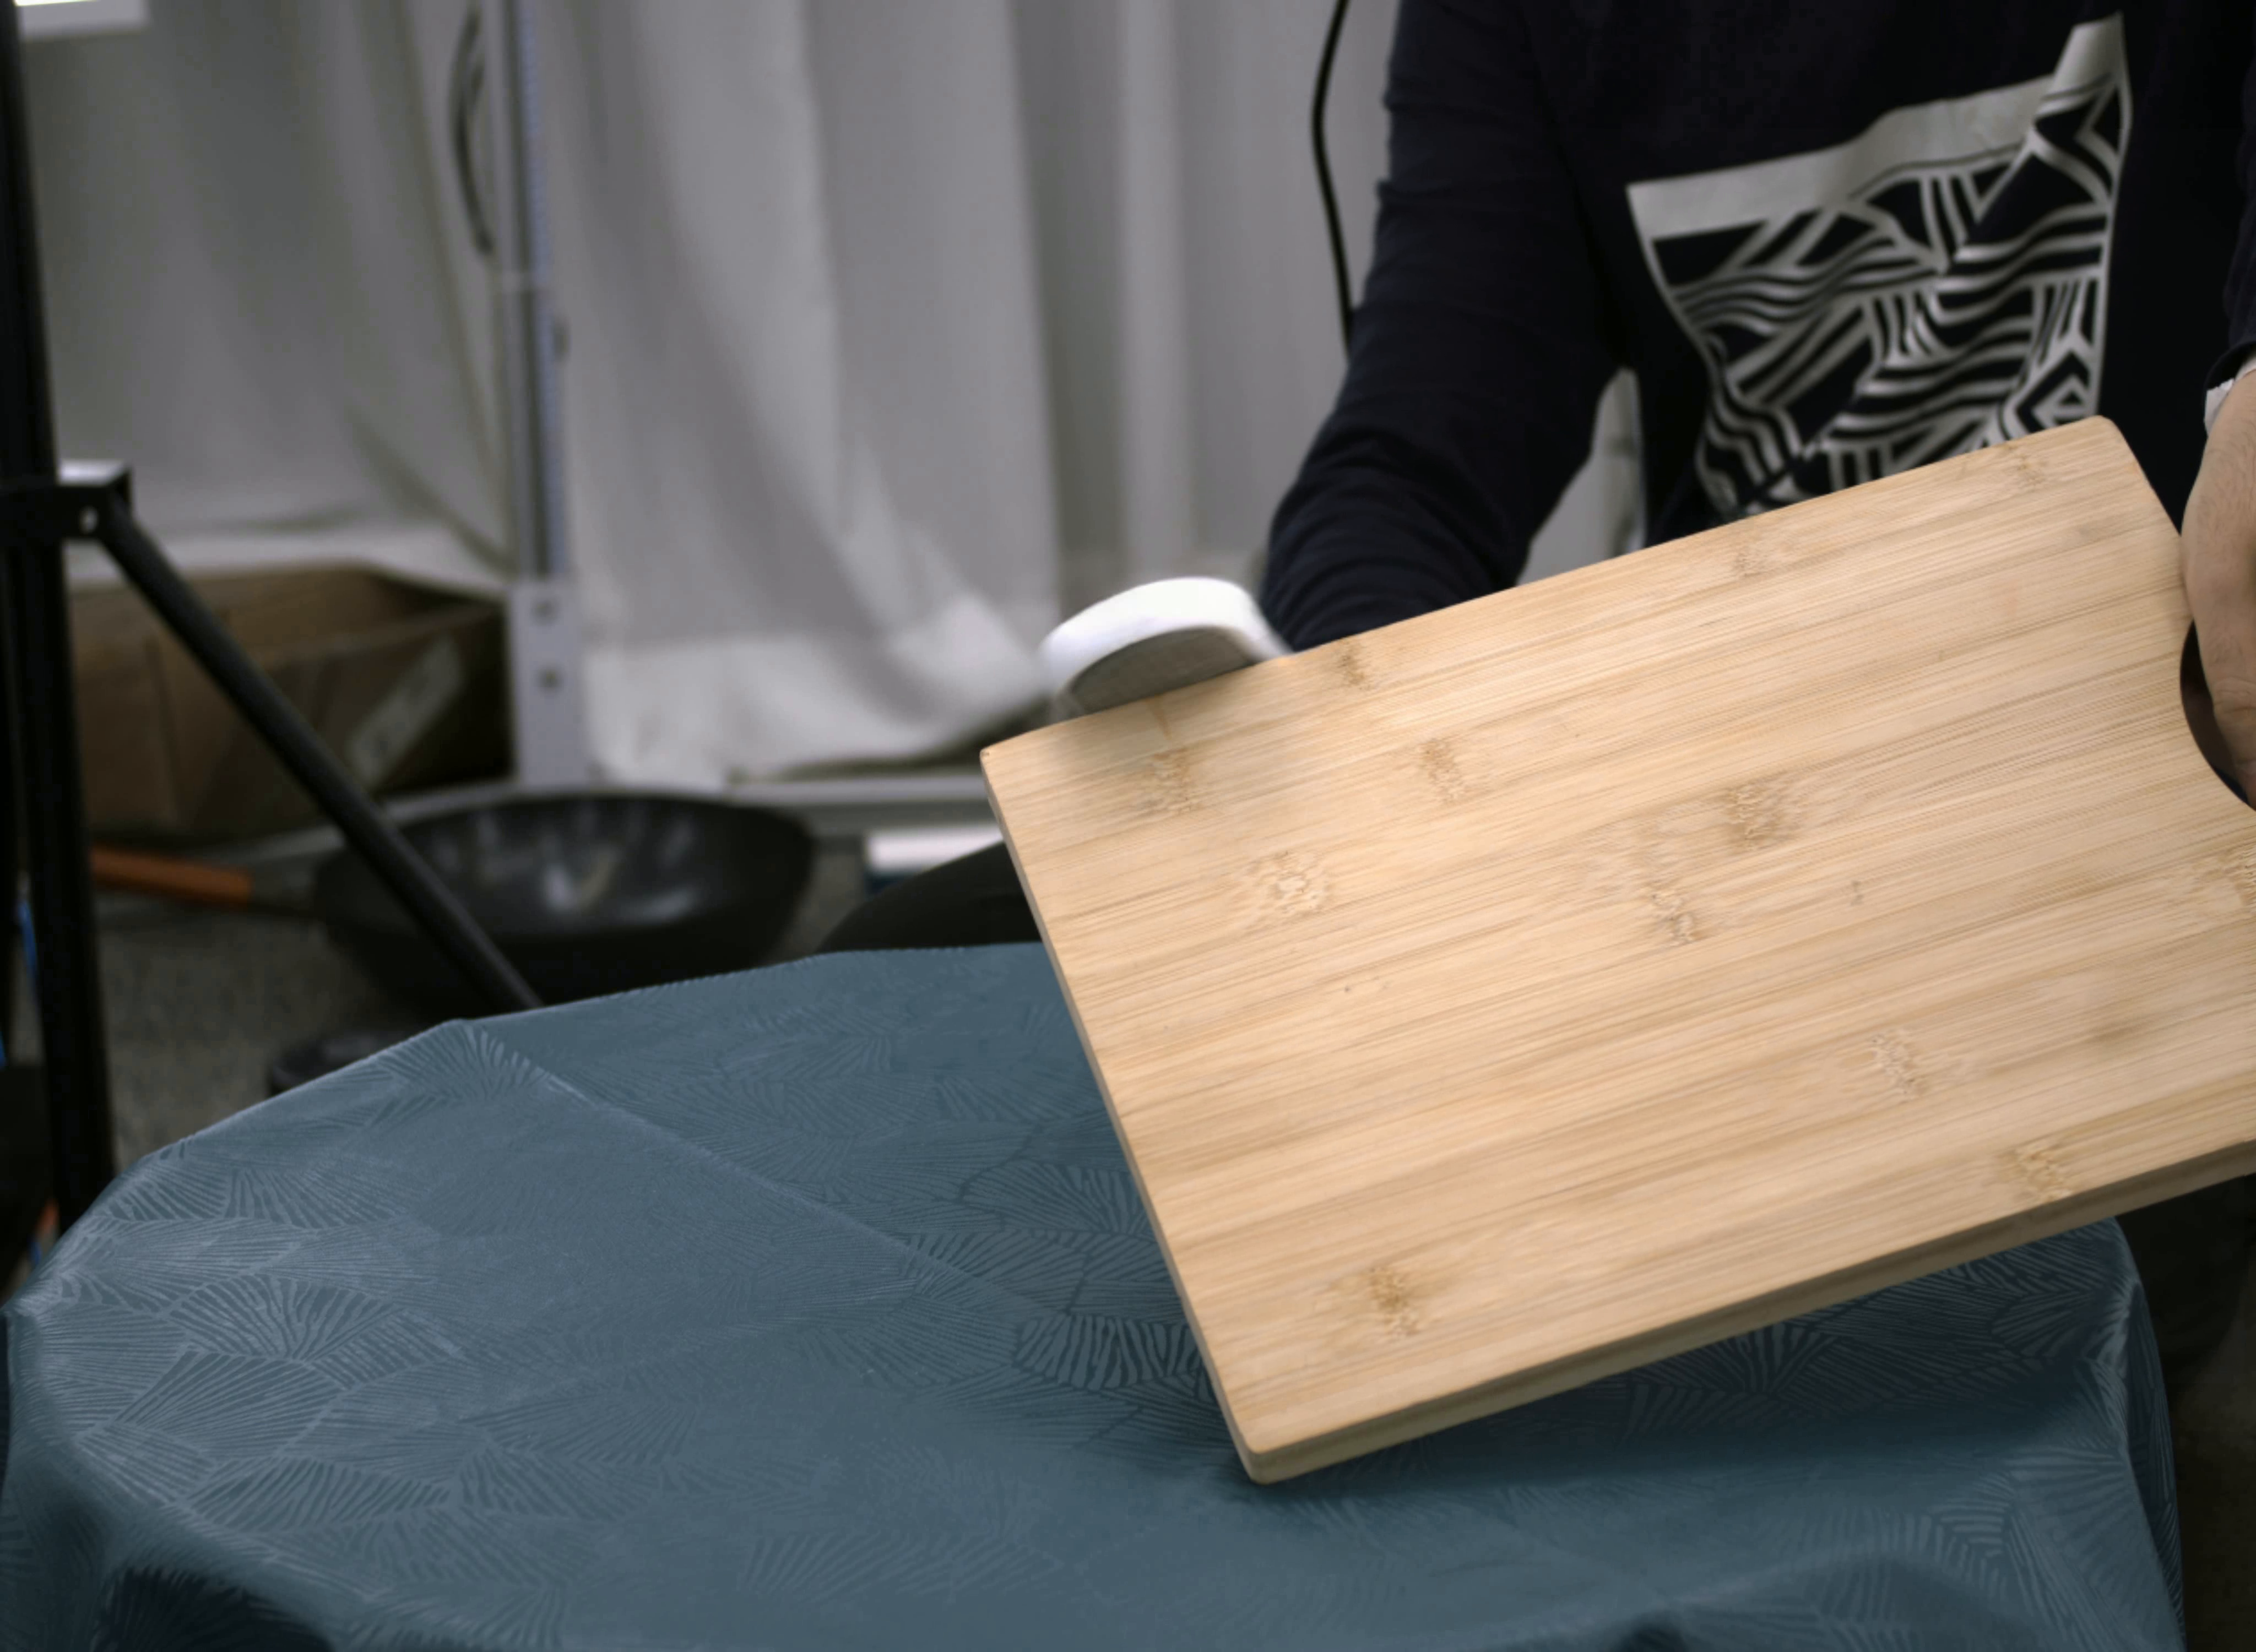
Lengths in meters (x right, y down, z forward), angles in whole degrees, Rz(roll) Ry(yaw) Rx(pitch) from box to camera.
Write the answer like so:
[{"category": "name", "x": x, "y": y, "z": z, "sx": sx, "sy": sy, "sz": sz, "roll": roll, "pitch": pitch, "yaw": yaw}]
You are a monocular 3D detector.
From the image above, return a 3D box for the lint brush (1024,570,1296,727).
[{"category": "lint brush", "x": 0.035, "y": -0.025, "z": 1.585, "sx": 0.060, "sy": 0.021, "sz": 0.303, "roll": -26, "pitch": -19, "yaw": 10}]

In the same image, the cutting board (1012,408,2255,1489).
[{"category": "cutting board", "x": 0.162, "y": 0.026, "z": 1.426, "sx": 0.346, "sy": 0.023, "sz": 0.255, "roll": -17, "pitch": 53, "yaw": -6}]
